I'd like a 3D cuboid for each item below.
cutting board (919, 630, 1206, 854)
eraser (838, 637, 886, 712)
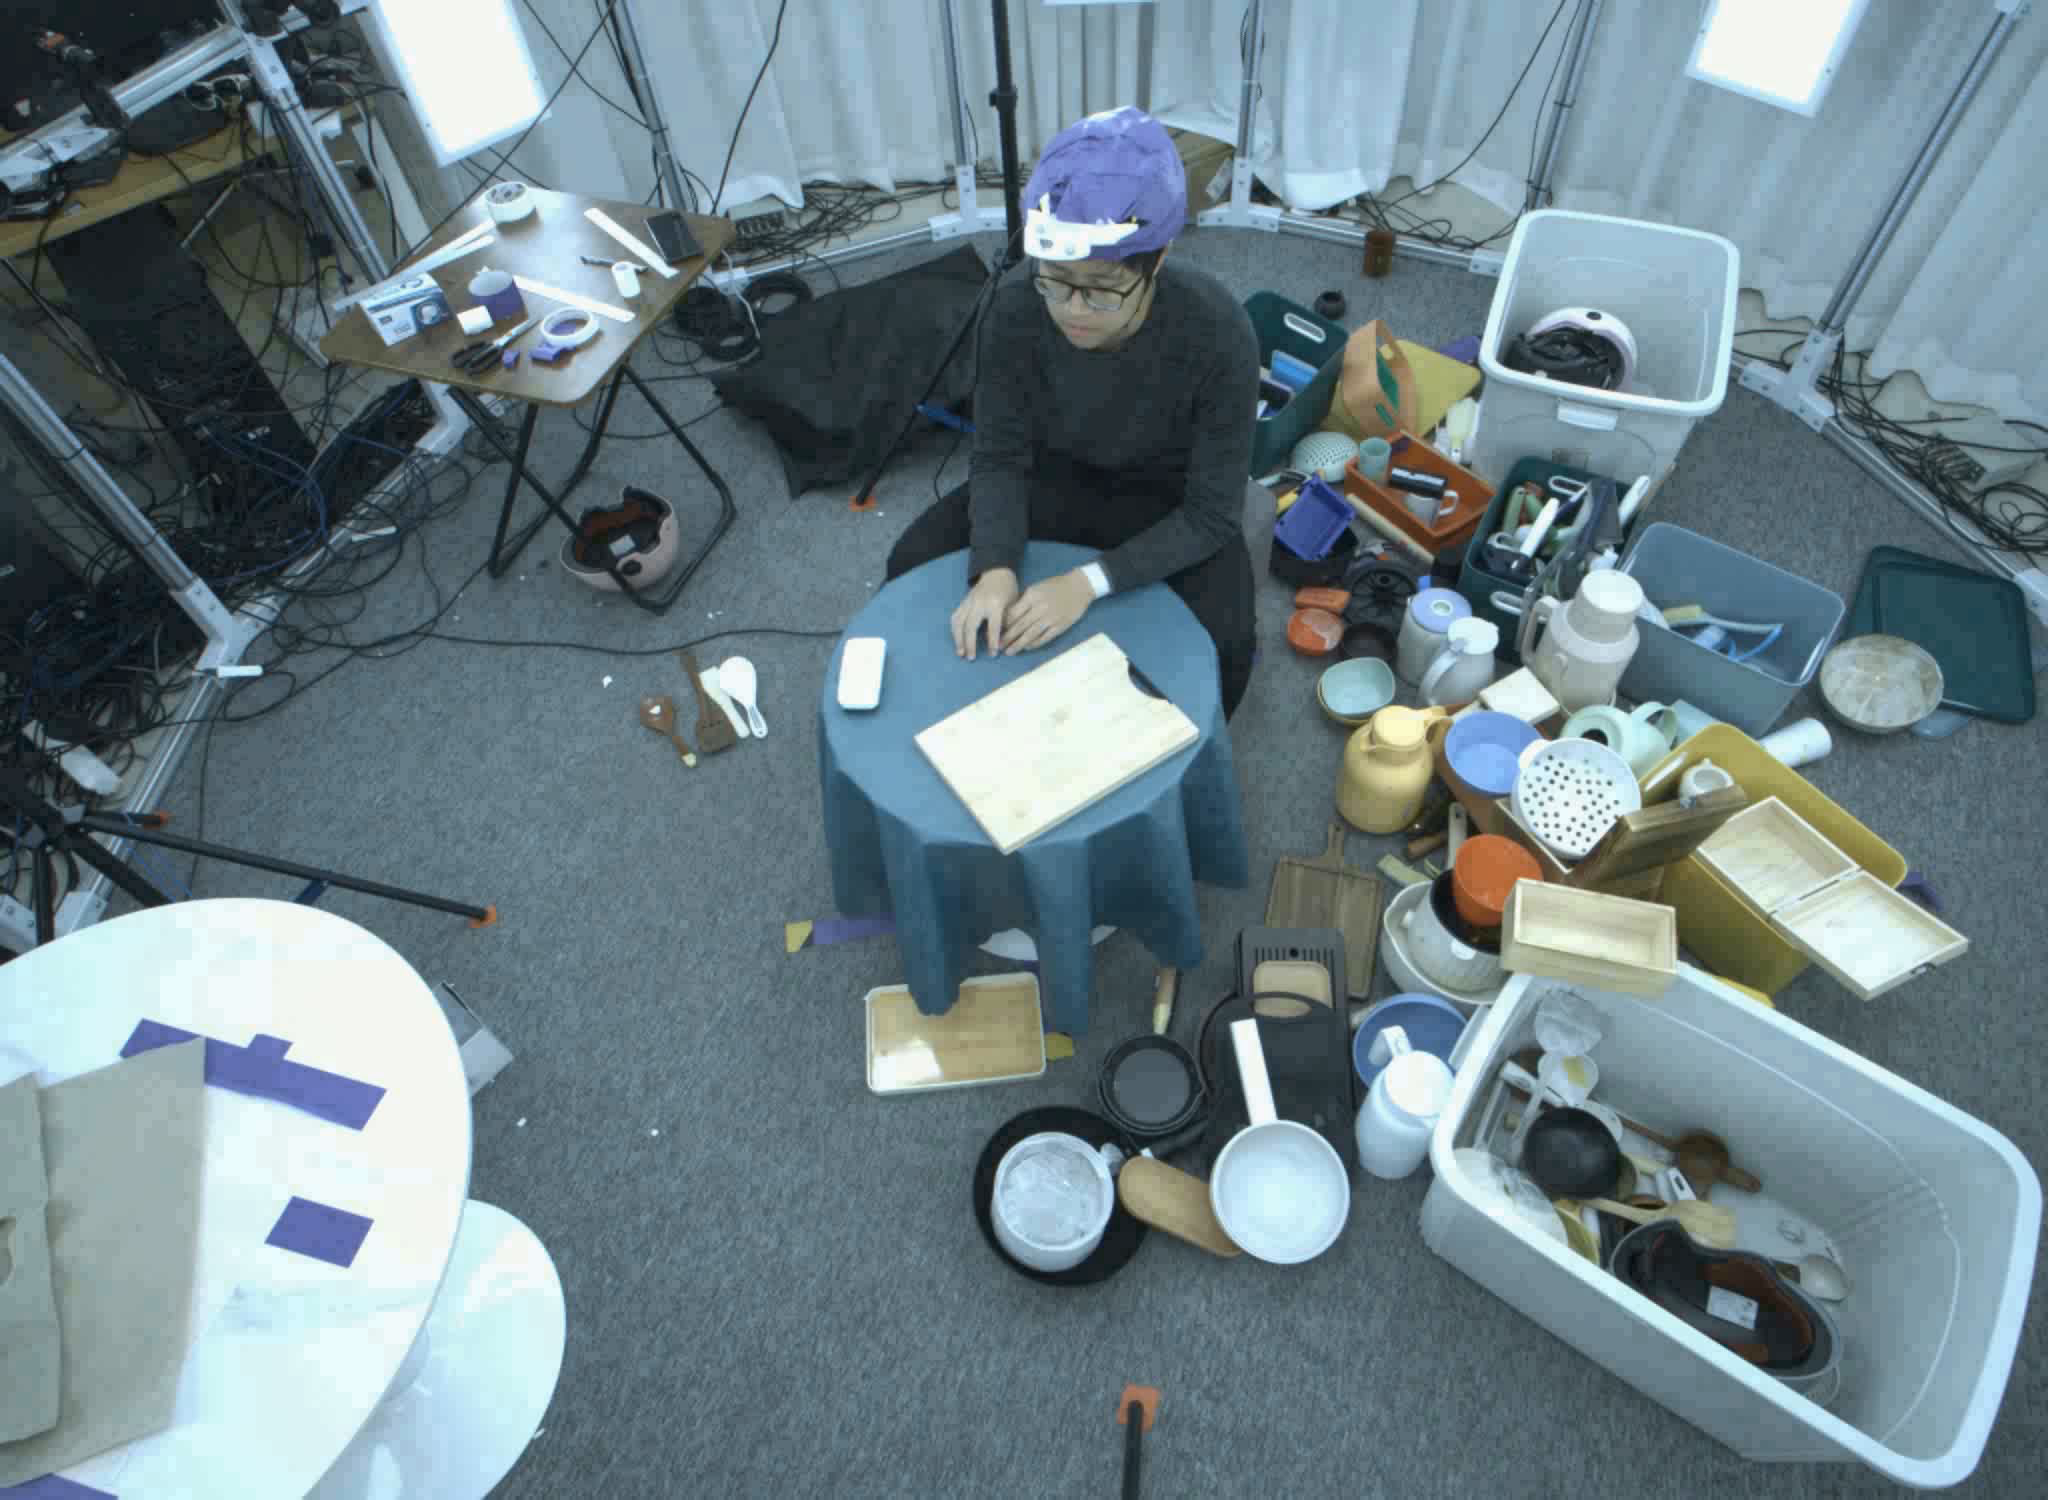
[{"bbox_3d":[0.052,-0.021,1.791,0.351,0.024,0.246,-31,60,-18],"label":"cutting board"},{"bbox_3d":[-0.244,-0.118,1.860,0.063,0.035,0.130,1,56,4],"label":"eraser"}]
